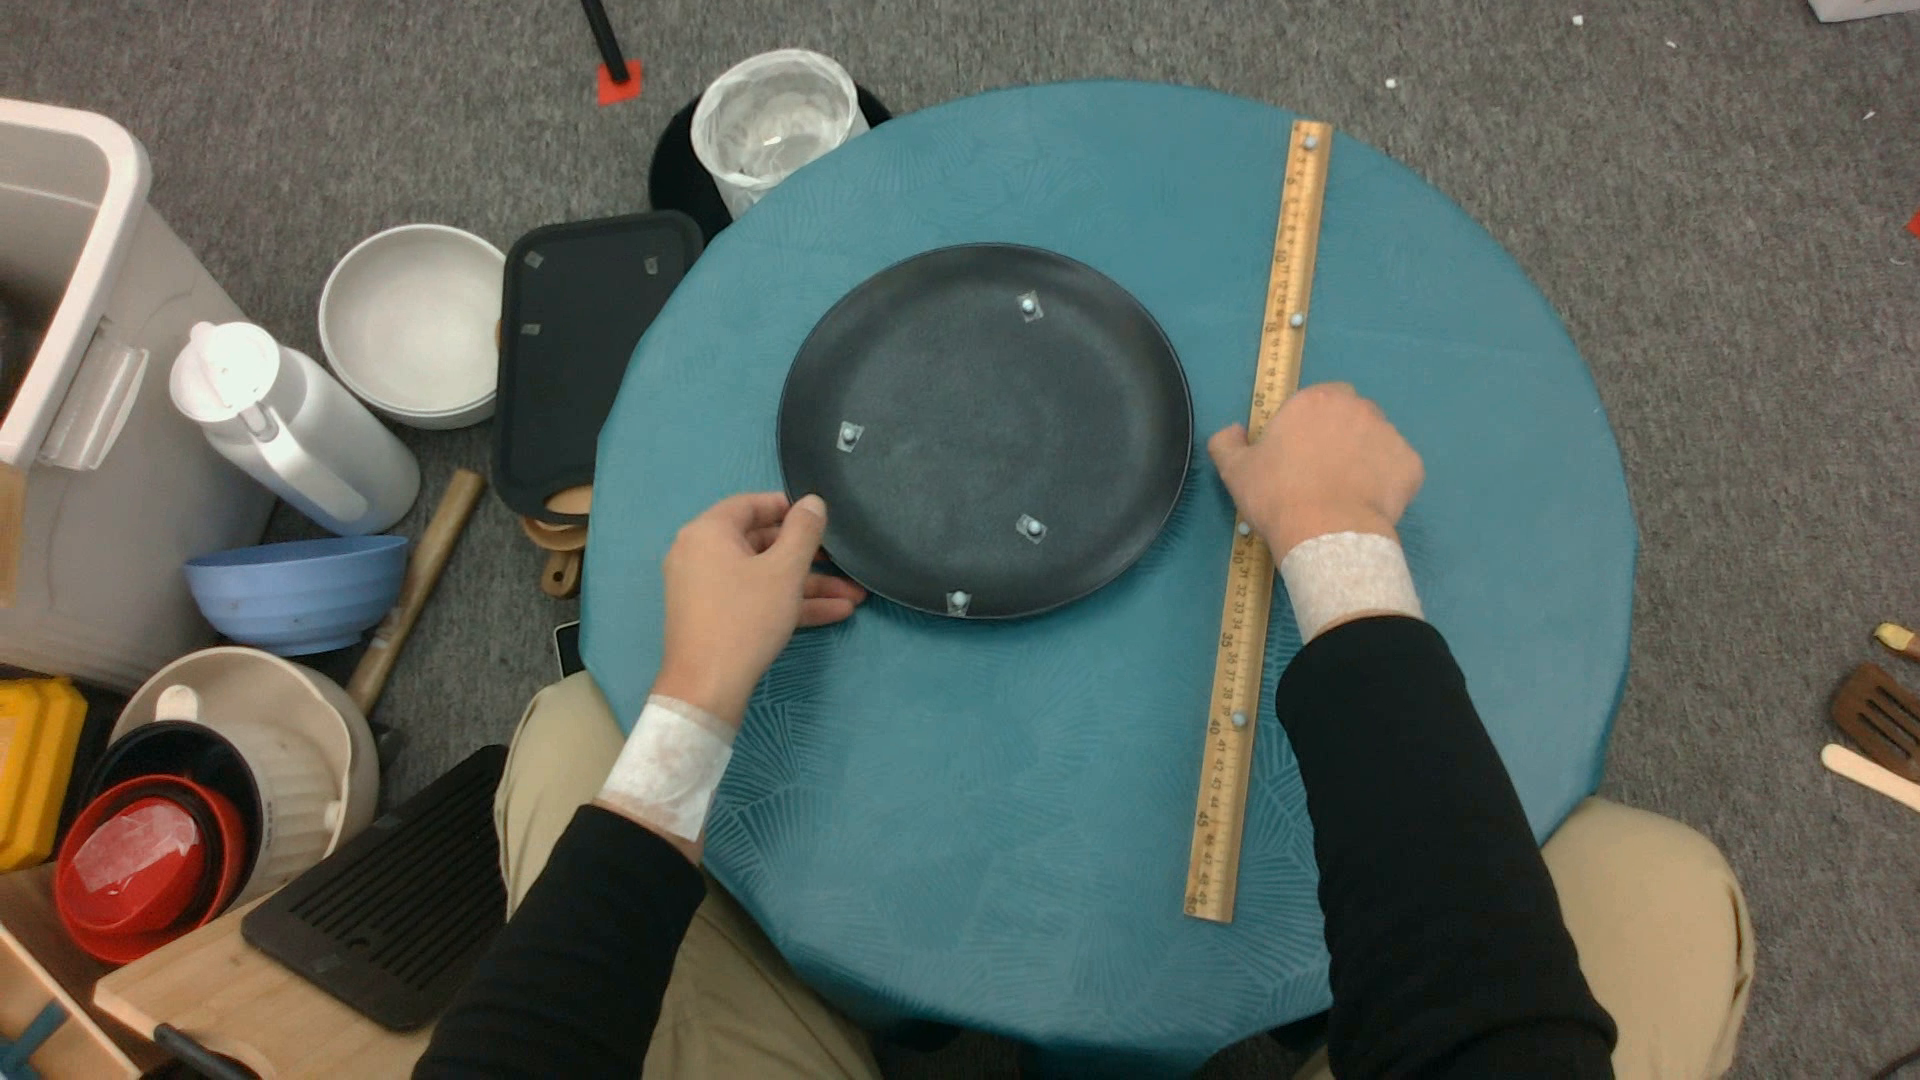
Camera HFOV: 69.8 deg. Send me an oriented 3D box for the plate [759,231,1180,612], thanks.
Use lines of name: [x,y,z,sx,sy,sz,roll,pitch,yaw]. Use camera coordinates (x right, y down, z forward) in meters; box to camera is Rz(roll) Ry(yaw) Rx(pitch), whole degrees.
plate: [0.005,-0.071,0.804,0.244,0.023,0.245,-1,69,2]

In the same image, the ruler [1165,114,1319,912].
ruler: [0.167,-0.041,0.795,0.027,0.006,0.502,8,70,11]
